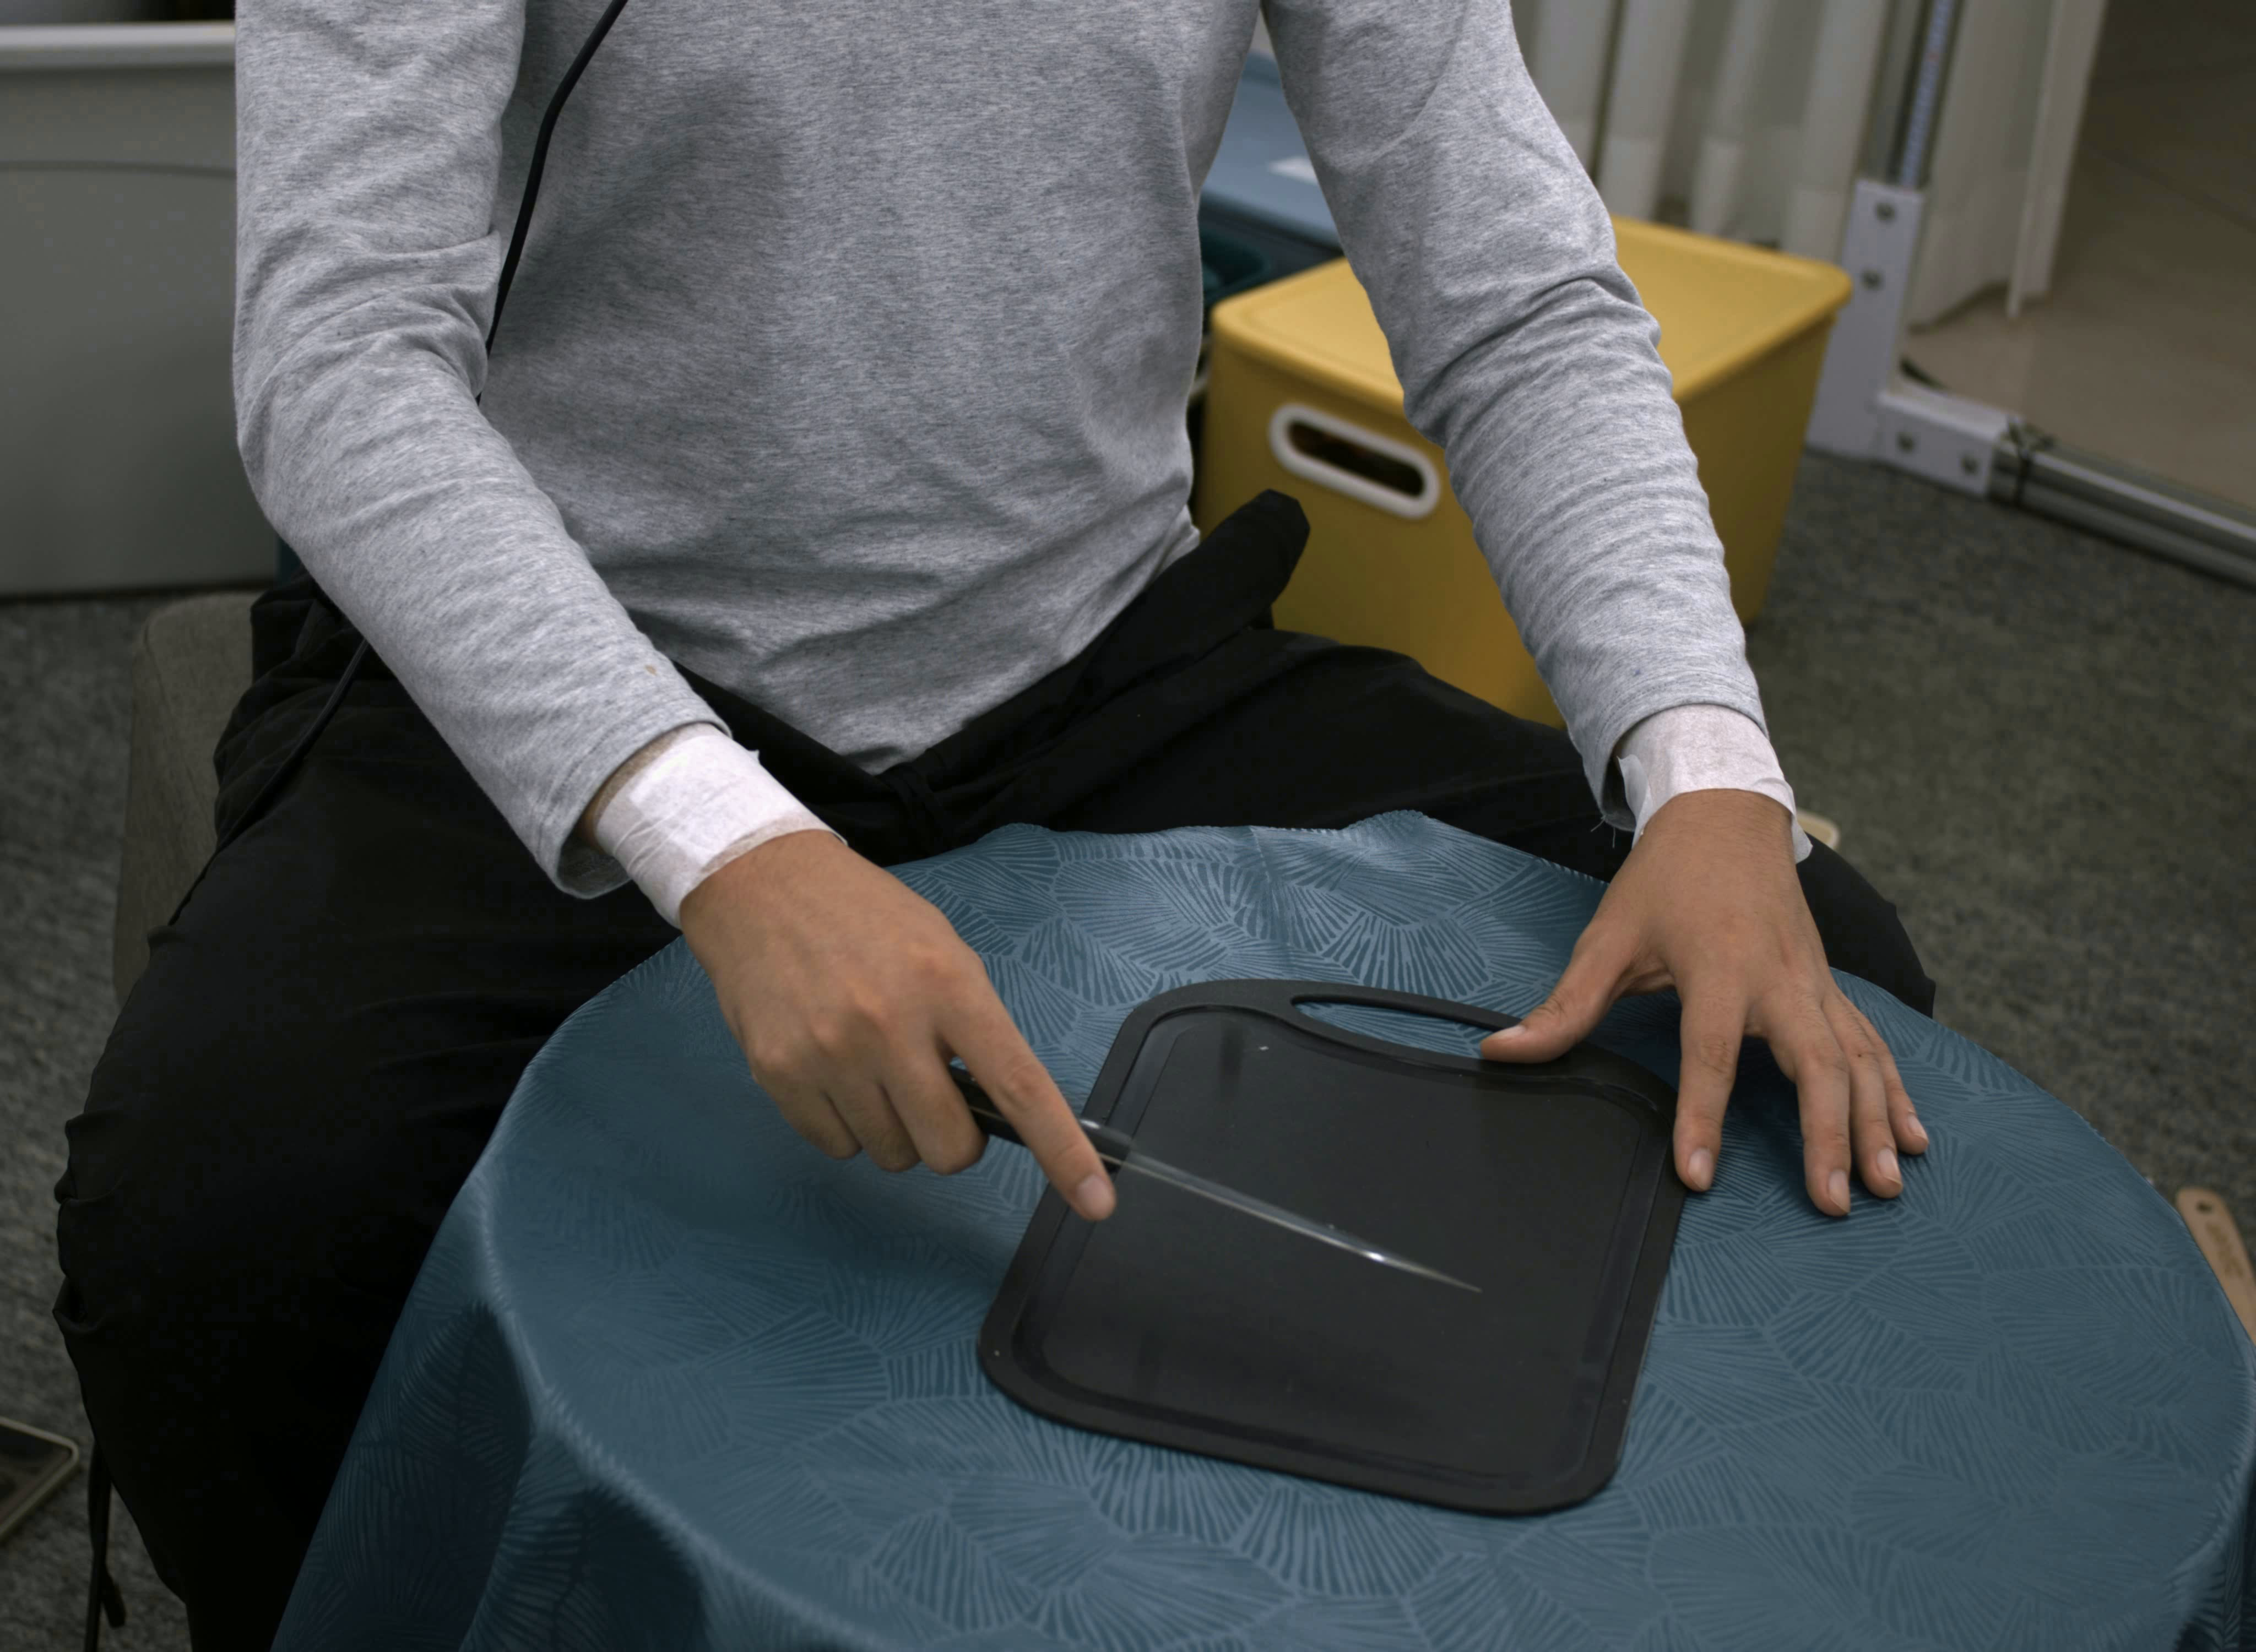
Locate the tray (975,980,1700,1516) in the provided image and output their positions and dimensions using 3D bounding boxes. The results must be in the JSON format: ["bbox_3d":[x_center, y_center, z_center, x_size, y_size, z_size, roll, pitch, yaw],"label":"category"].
[{"bbox_3d":[0.078,0.131,1.803,0.211,0.010,0.326,11,27,9],"label":"tray"}]

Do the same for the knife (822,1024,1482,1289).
[{"bbox_3d":[0.005,0.110,1.732,0.239,0.016,0.024,20,14,17],"label":"knife"}]
